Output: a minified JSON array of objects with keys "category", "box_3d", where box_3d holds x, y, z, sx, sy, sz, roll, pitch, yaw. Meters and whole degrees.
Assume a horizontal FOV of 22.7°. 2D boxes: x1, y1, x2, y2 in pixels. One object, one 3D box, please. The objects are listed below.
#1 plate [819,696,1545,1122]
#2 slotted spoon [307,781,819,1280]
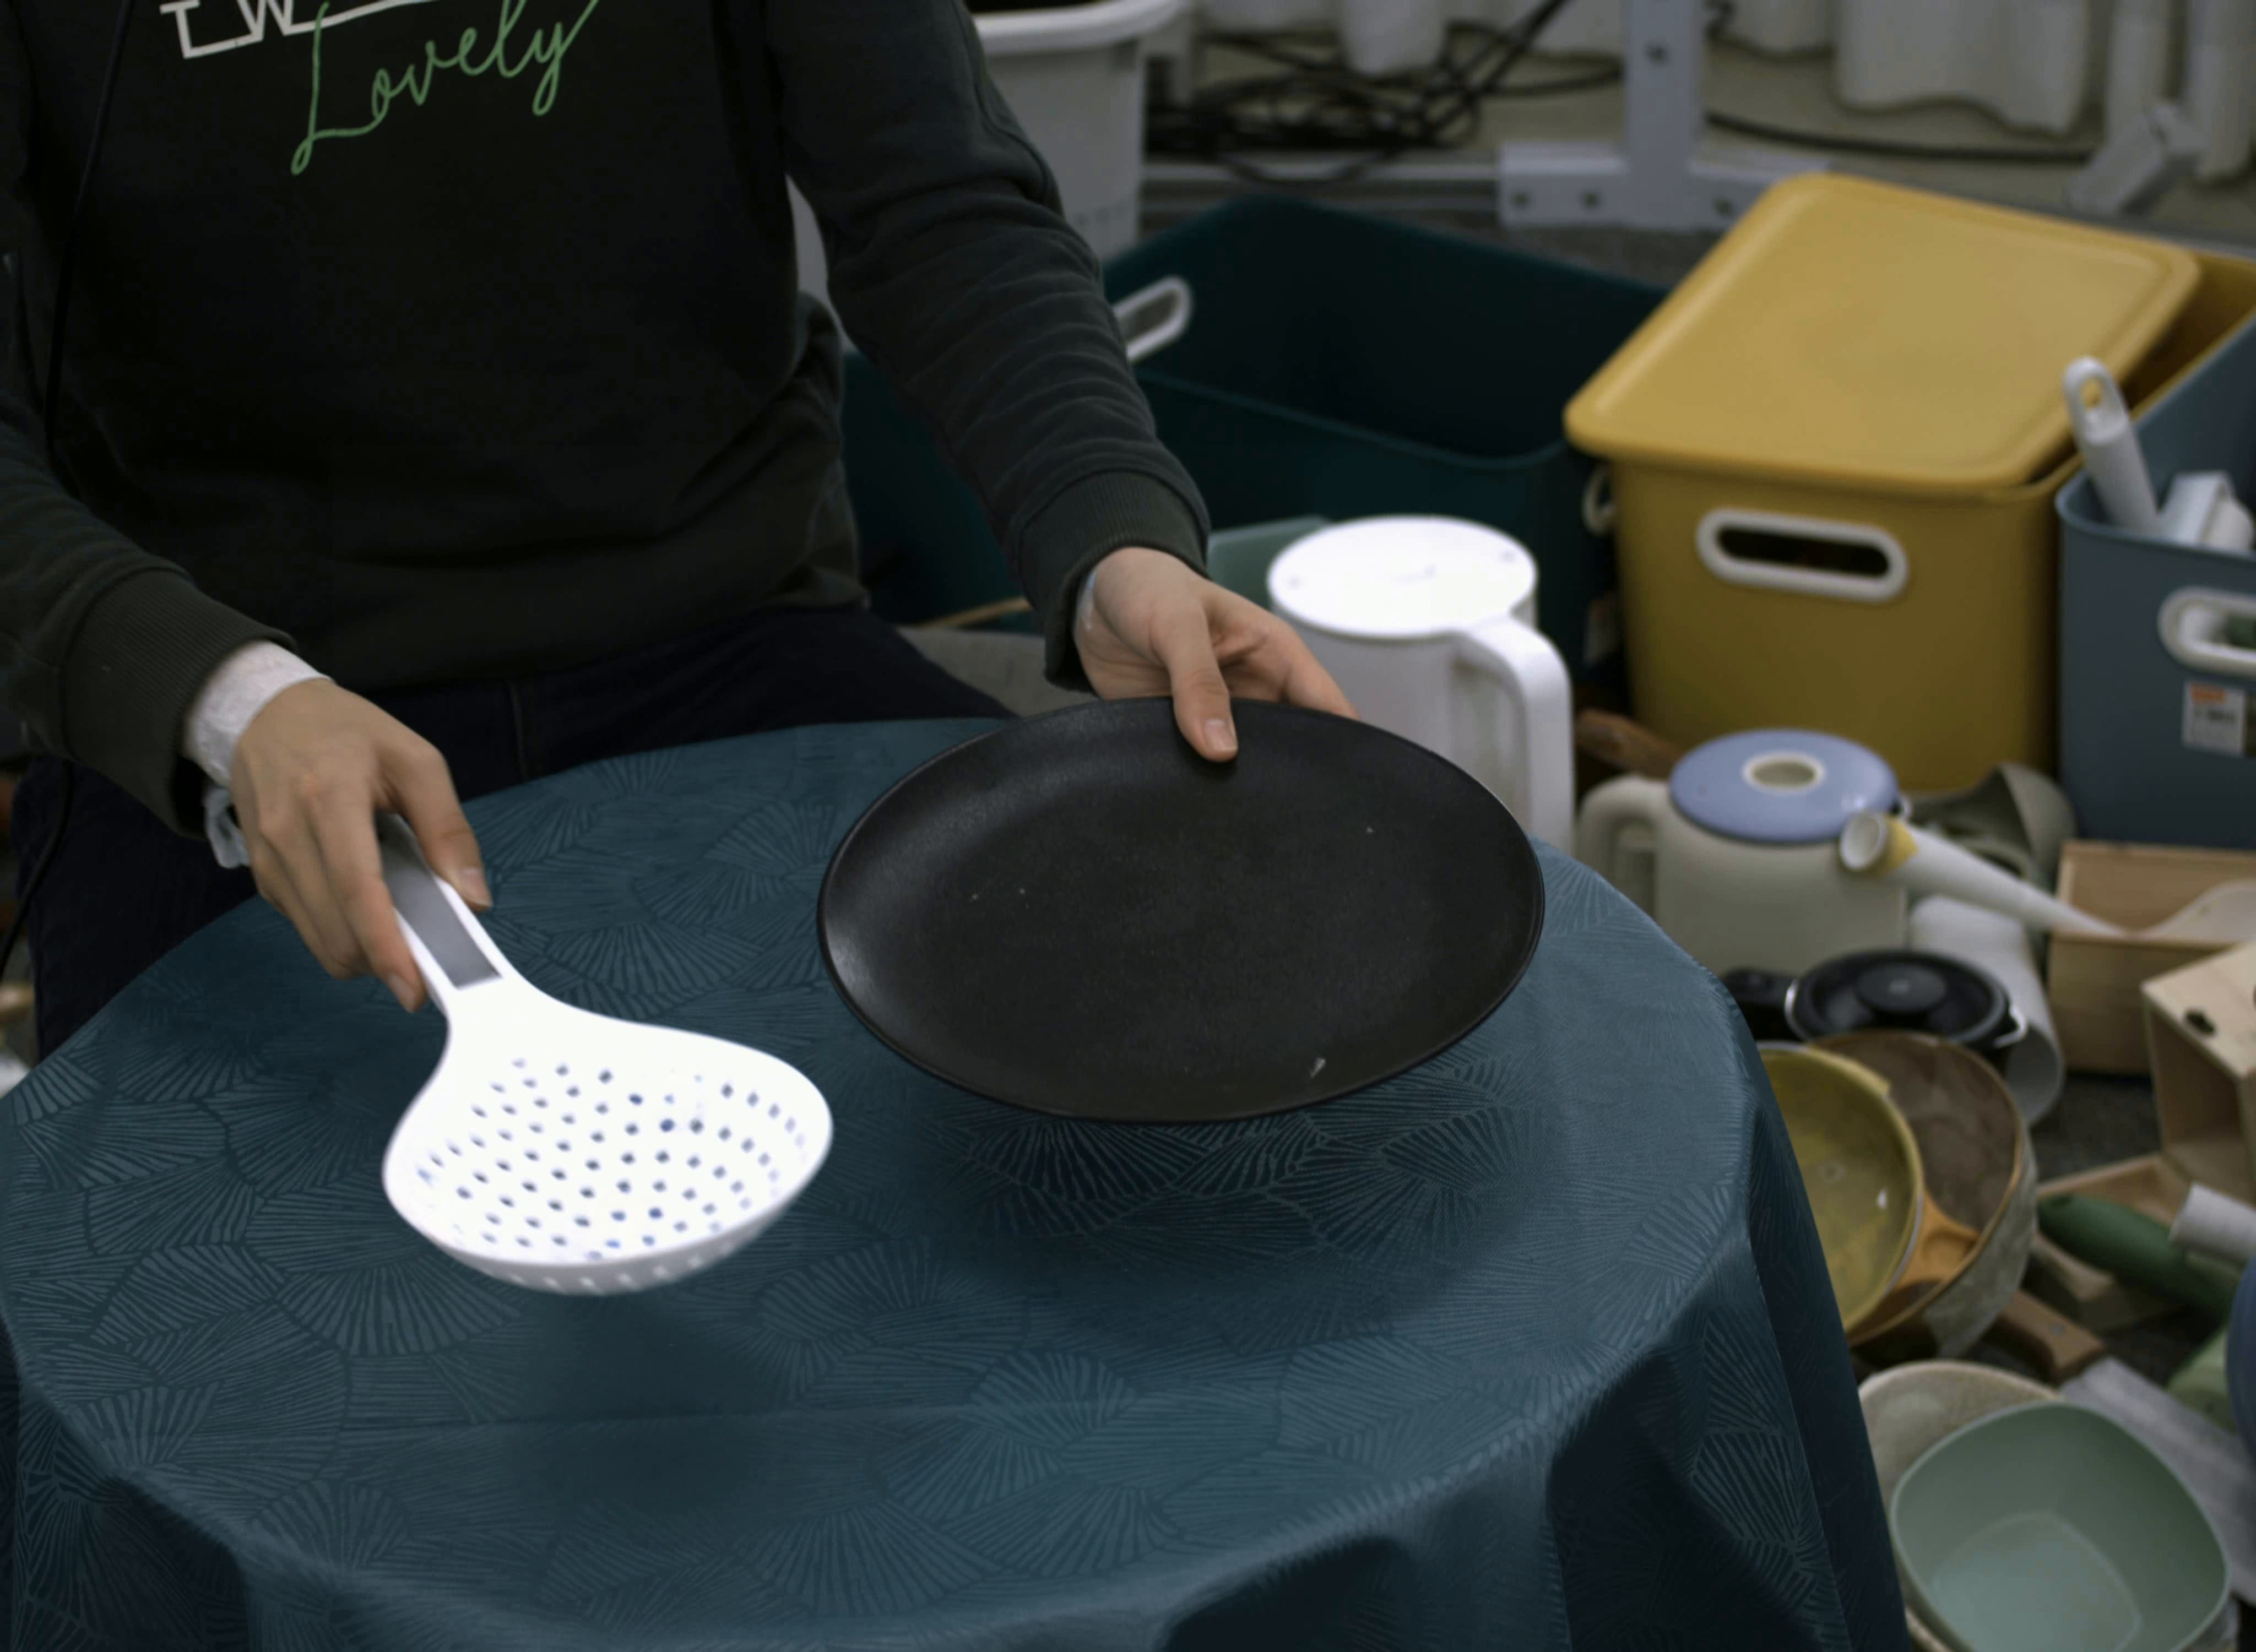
[{"category":"plate","box_3d":[0.018,0.030,1.878,0.243,0.023,0.249,-1,34,1]},{"category":"slotted spoon","box_3d":[-0.204,0.059,1.800,0.136,0.045,0.352,-14,32,-20]}]
